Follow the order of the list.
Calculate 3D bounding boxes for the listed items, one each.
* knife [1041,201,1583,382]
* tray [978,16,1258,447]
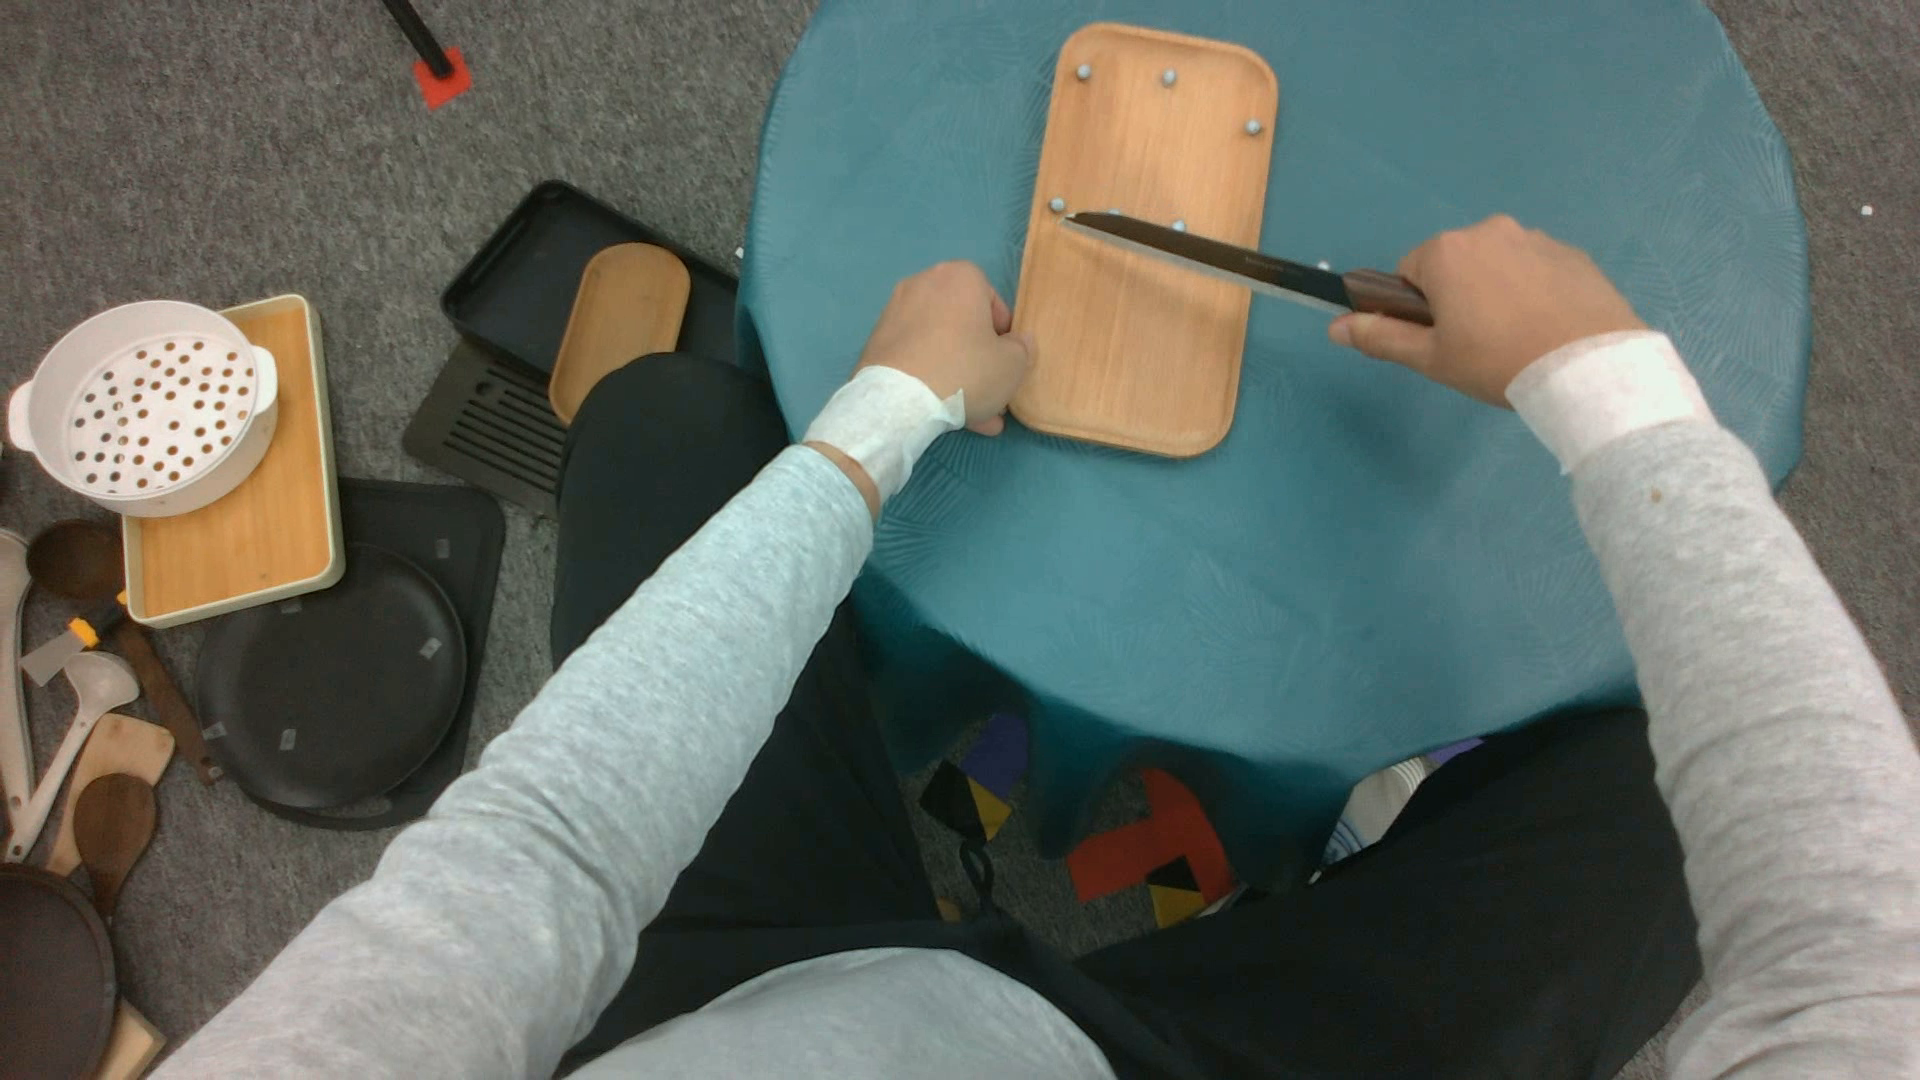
[{"bbox_3d":[0.168,-0.132,0.706,0.289,0.050,0.020,21,77,22],"label":"knife"},{"bbox_3d":[0.091,-0.175,0.770,0.130,0.023,0.251,11,76,2],"label":"tray"}]
